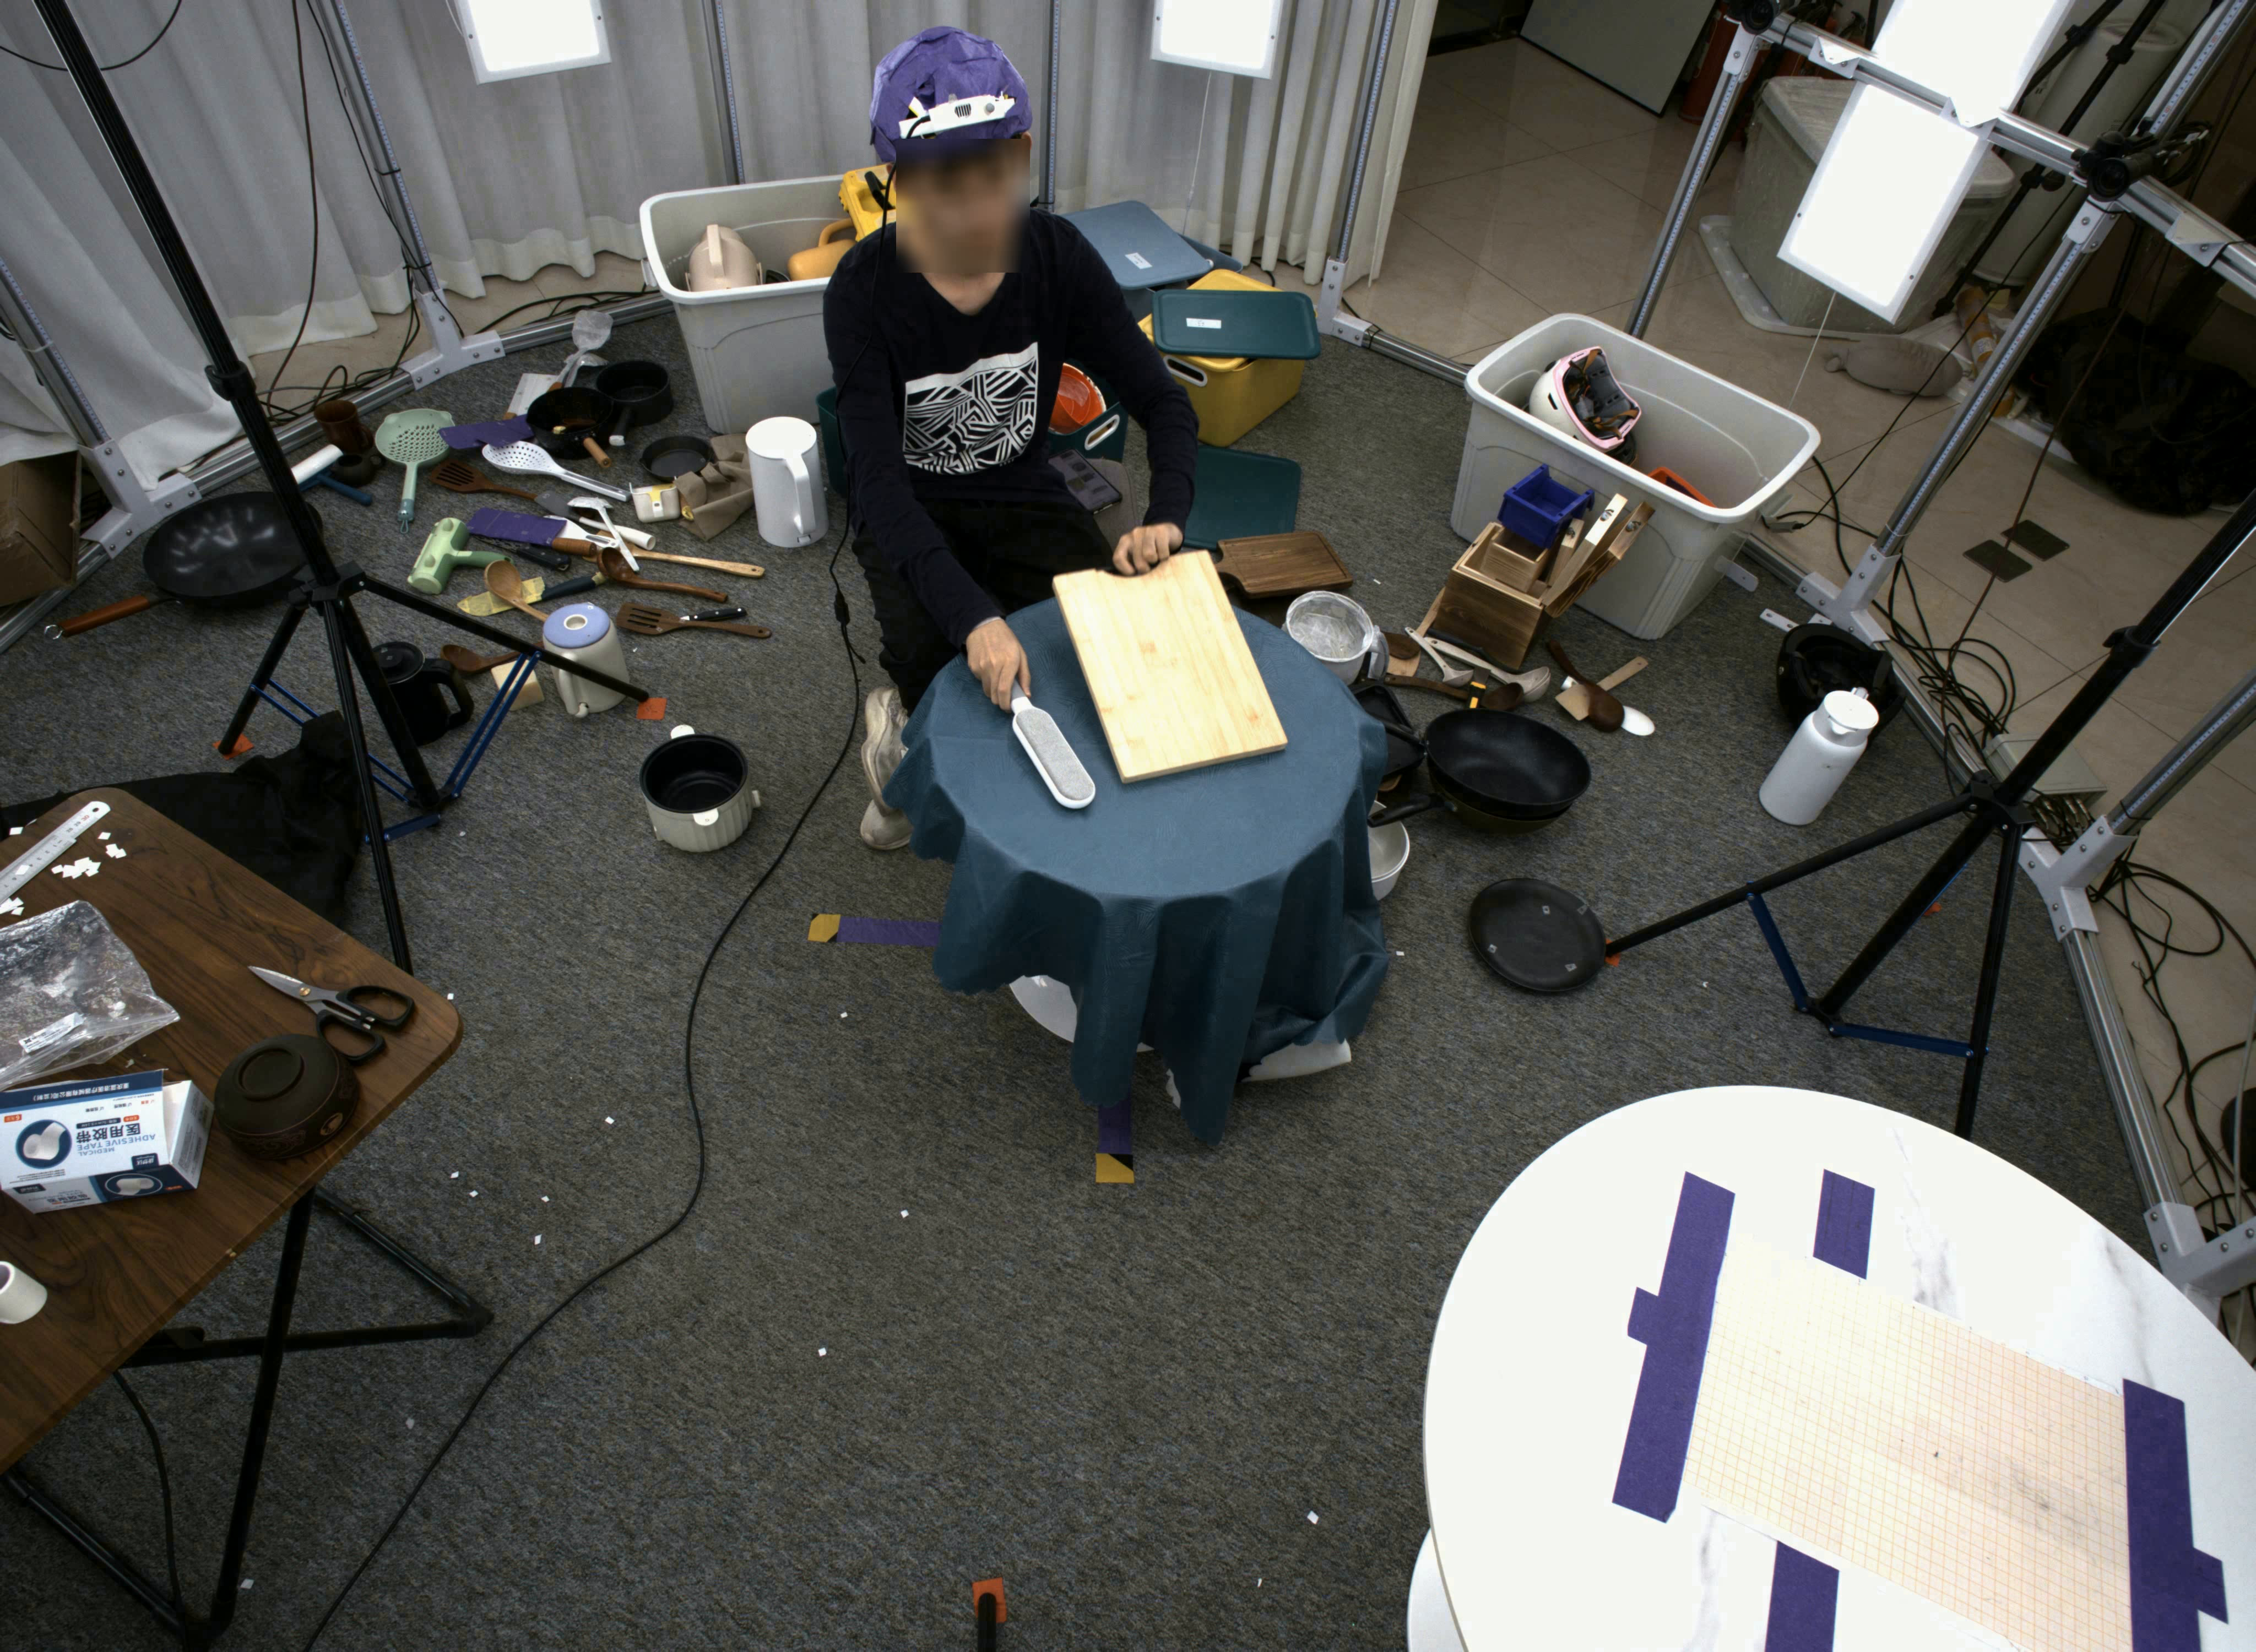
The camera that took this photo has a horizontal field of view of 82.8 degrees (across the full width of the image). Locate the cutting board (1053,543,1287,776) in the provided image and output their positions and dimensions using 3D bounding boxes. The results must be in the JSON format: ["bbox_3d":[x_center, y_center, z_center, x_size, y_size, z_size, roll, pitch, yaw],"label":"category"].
[{"bbox_3d":[0.055,-0.240,1.815,0.251,0.023,0.355,-13,65,-15],"label":"cutting board"}]

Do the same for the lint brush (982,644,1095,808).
[{"bbox_3d":[-0.128,-0.142,1.752,0.060,0.020,0.315,-18,56,-21],"label":"lint brush"}]
